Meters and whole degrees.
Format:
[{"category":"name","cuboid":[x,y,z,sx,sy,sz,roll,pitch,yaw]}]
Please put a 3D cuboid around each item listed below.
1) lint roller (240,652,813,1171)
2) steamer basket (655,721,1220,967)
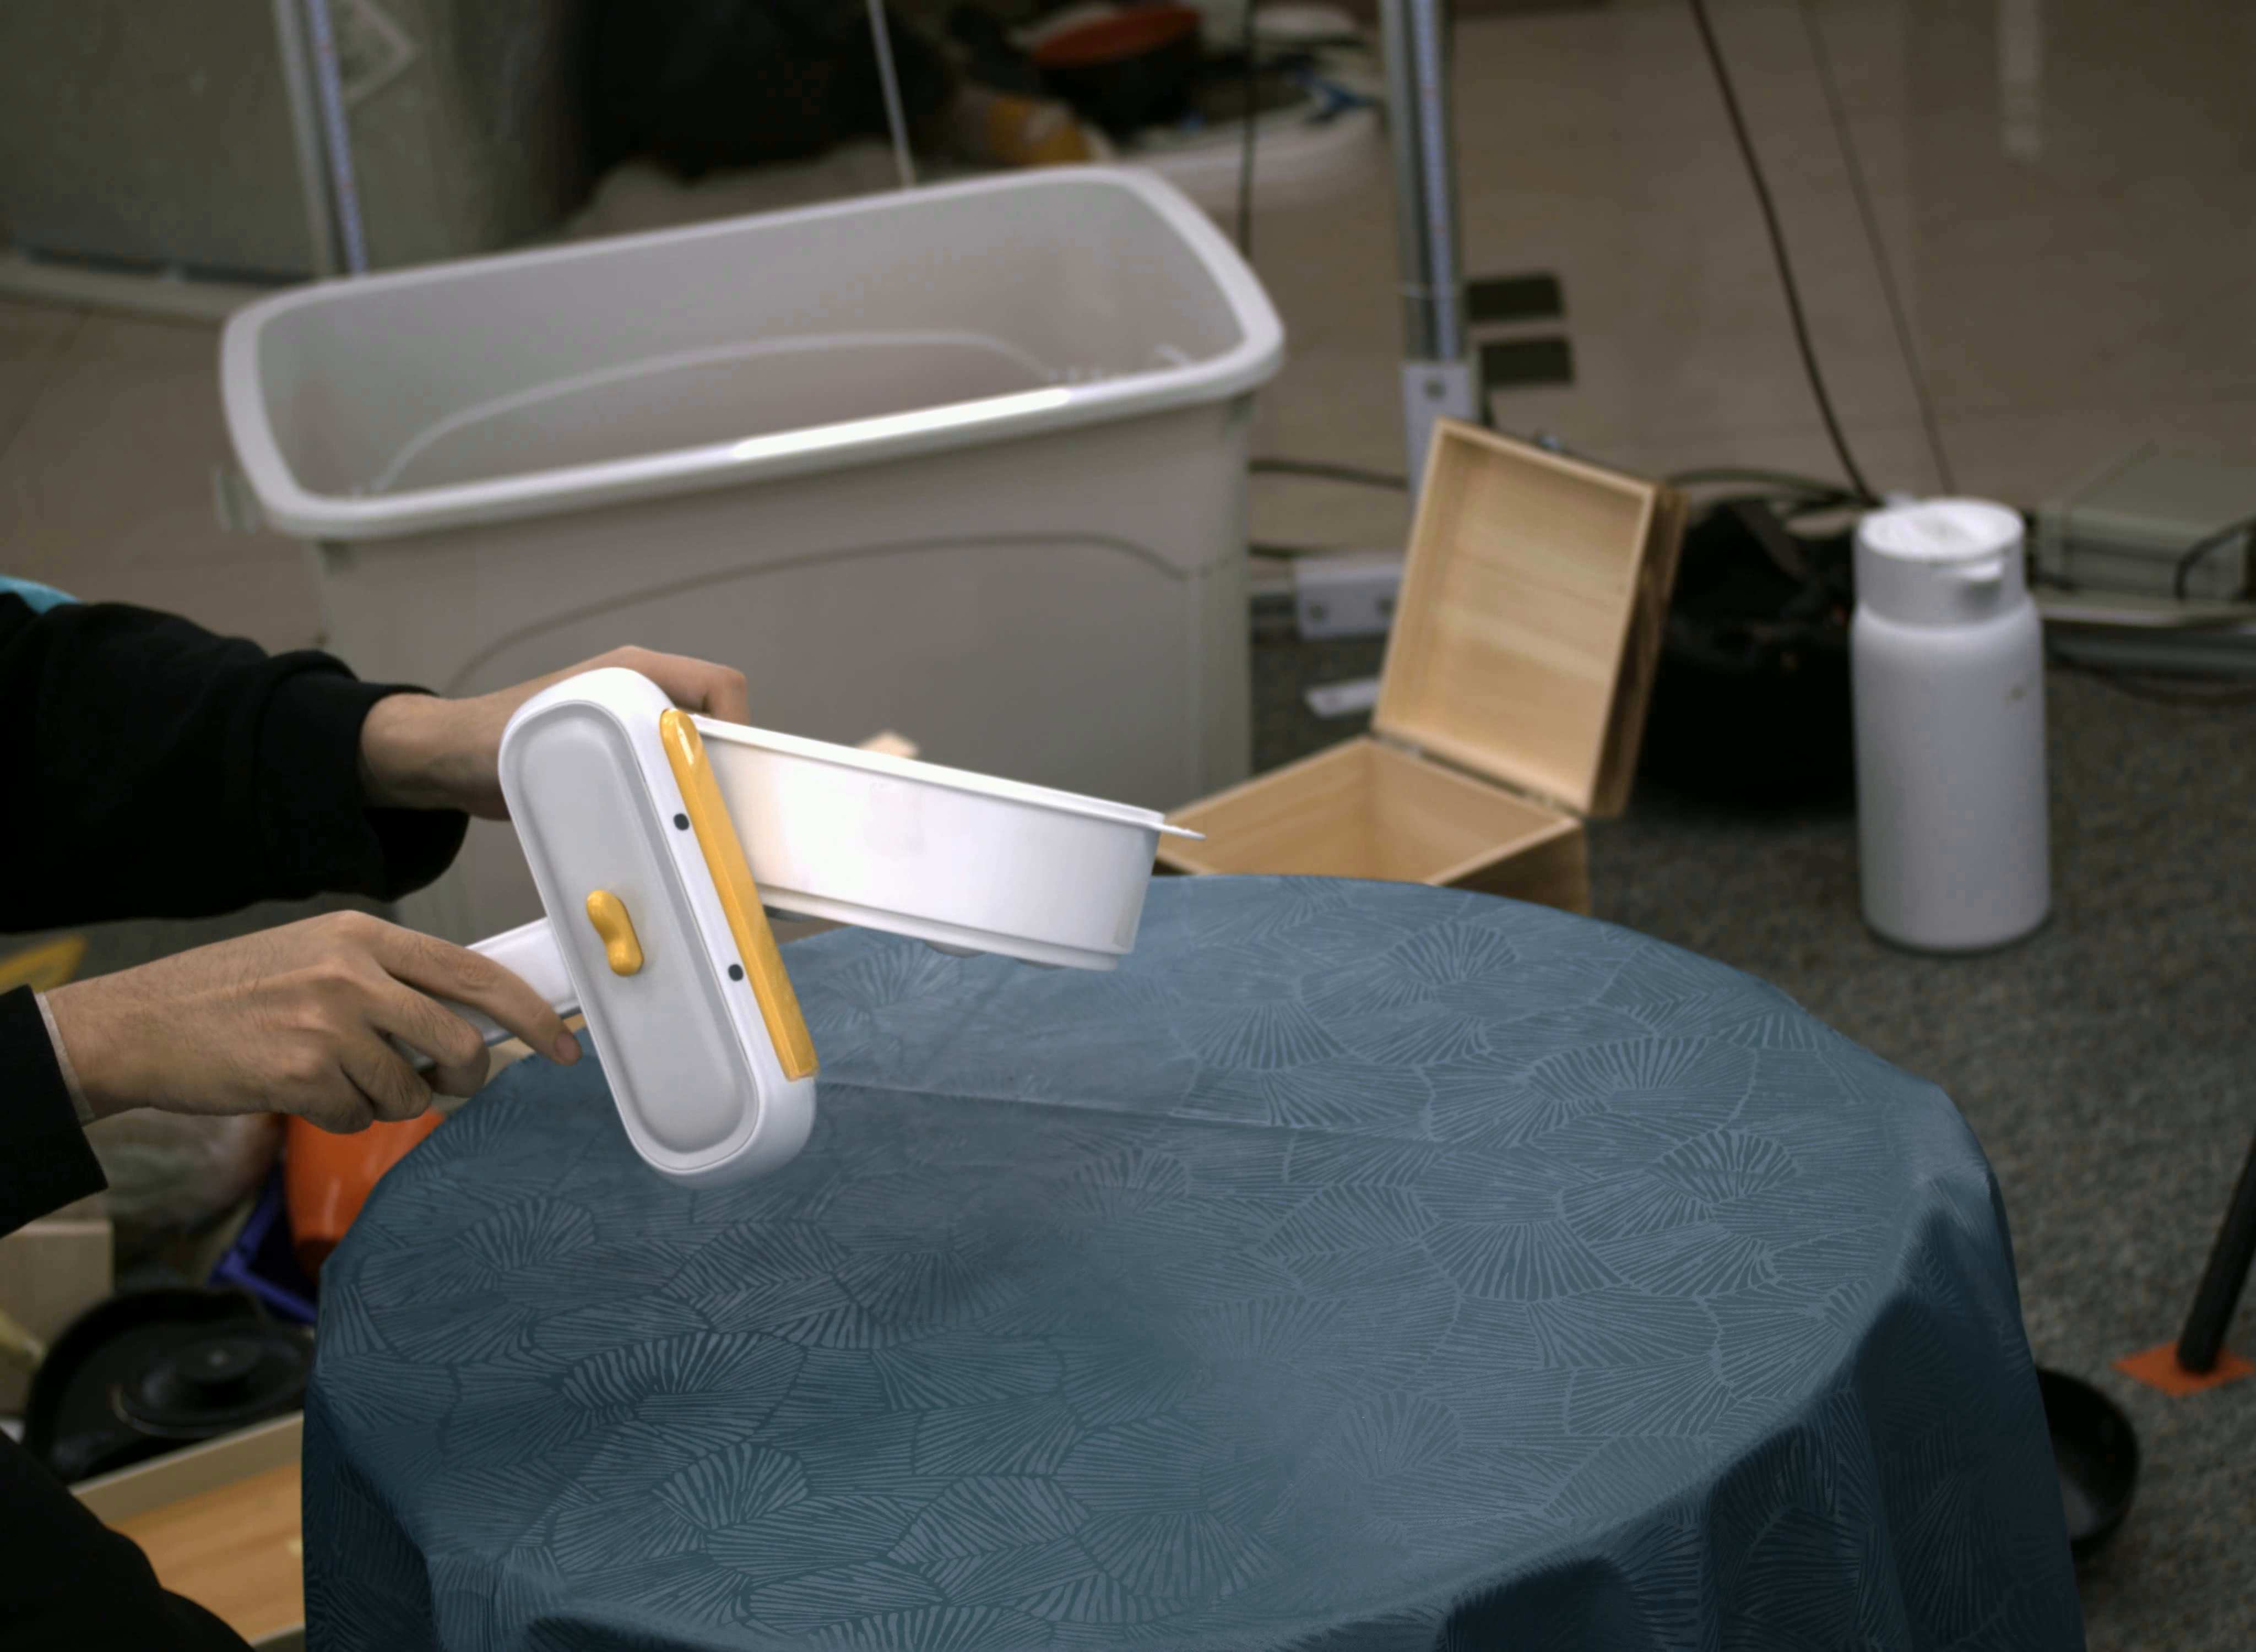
[{"category":"lint roller","cuboid":[-0.228,0.055,2.040,0.193,0.193,0.074,-24,3,10]},{"category":"steamer basket","cuboid":[-0.084,0.009,2.128,0.230,0.069,0.202,10,0,1]}]
